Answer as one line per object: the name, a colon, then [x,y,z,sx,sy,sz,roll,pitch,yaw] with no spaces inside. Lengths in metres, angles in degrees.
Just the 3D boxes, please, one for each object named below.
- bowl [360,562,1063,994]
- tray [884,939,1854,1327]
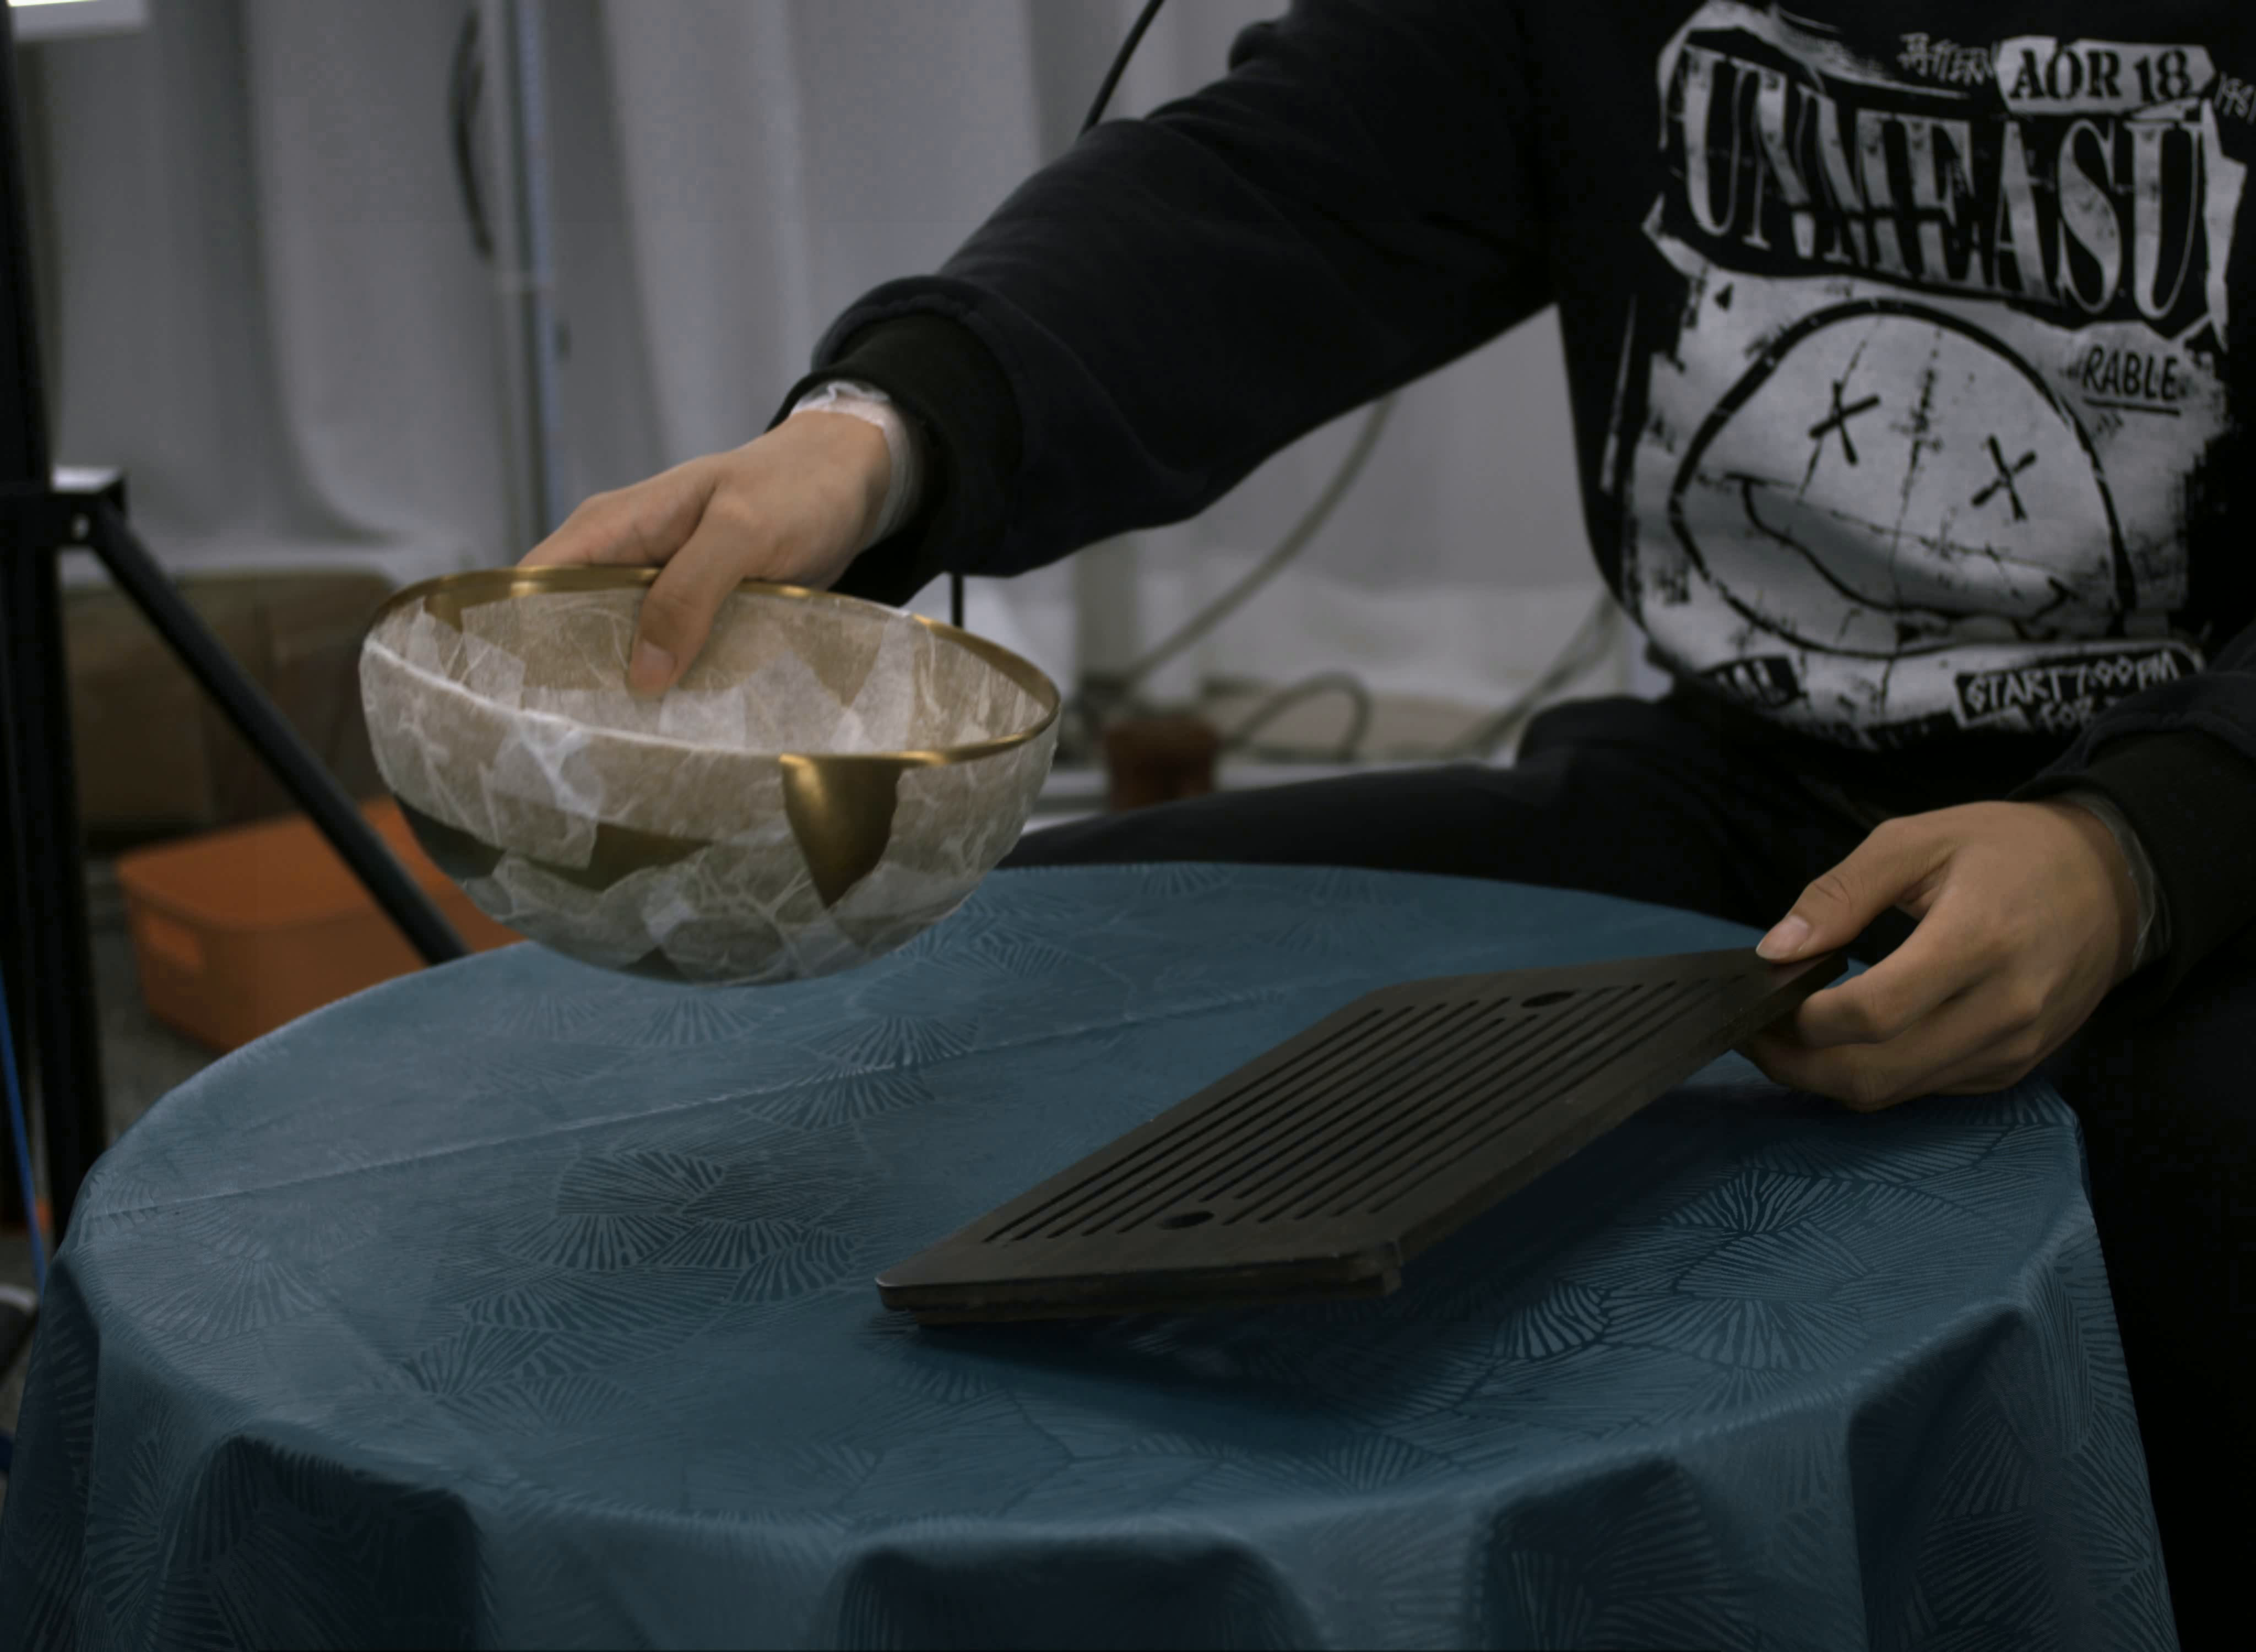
bowl: [-0.120,-0.005,1.538,0.213,0.095,0.216,6,15,-3]
tray: [0.077,0.088,1.522,0.173,0.018,0.300,-7,10,35]
